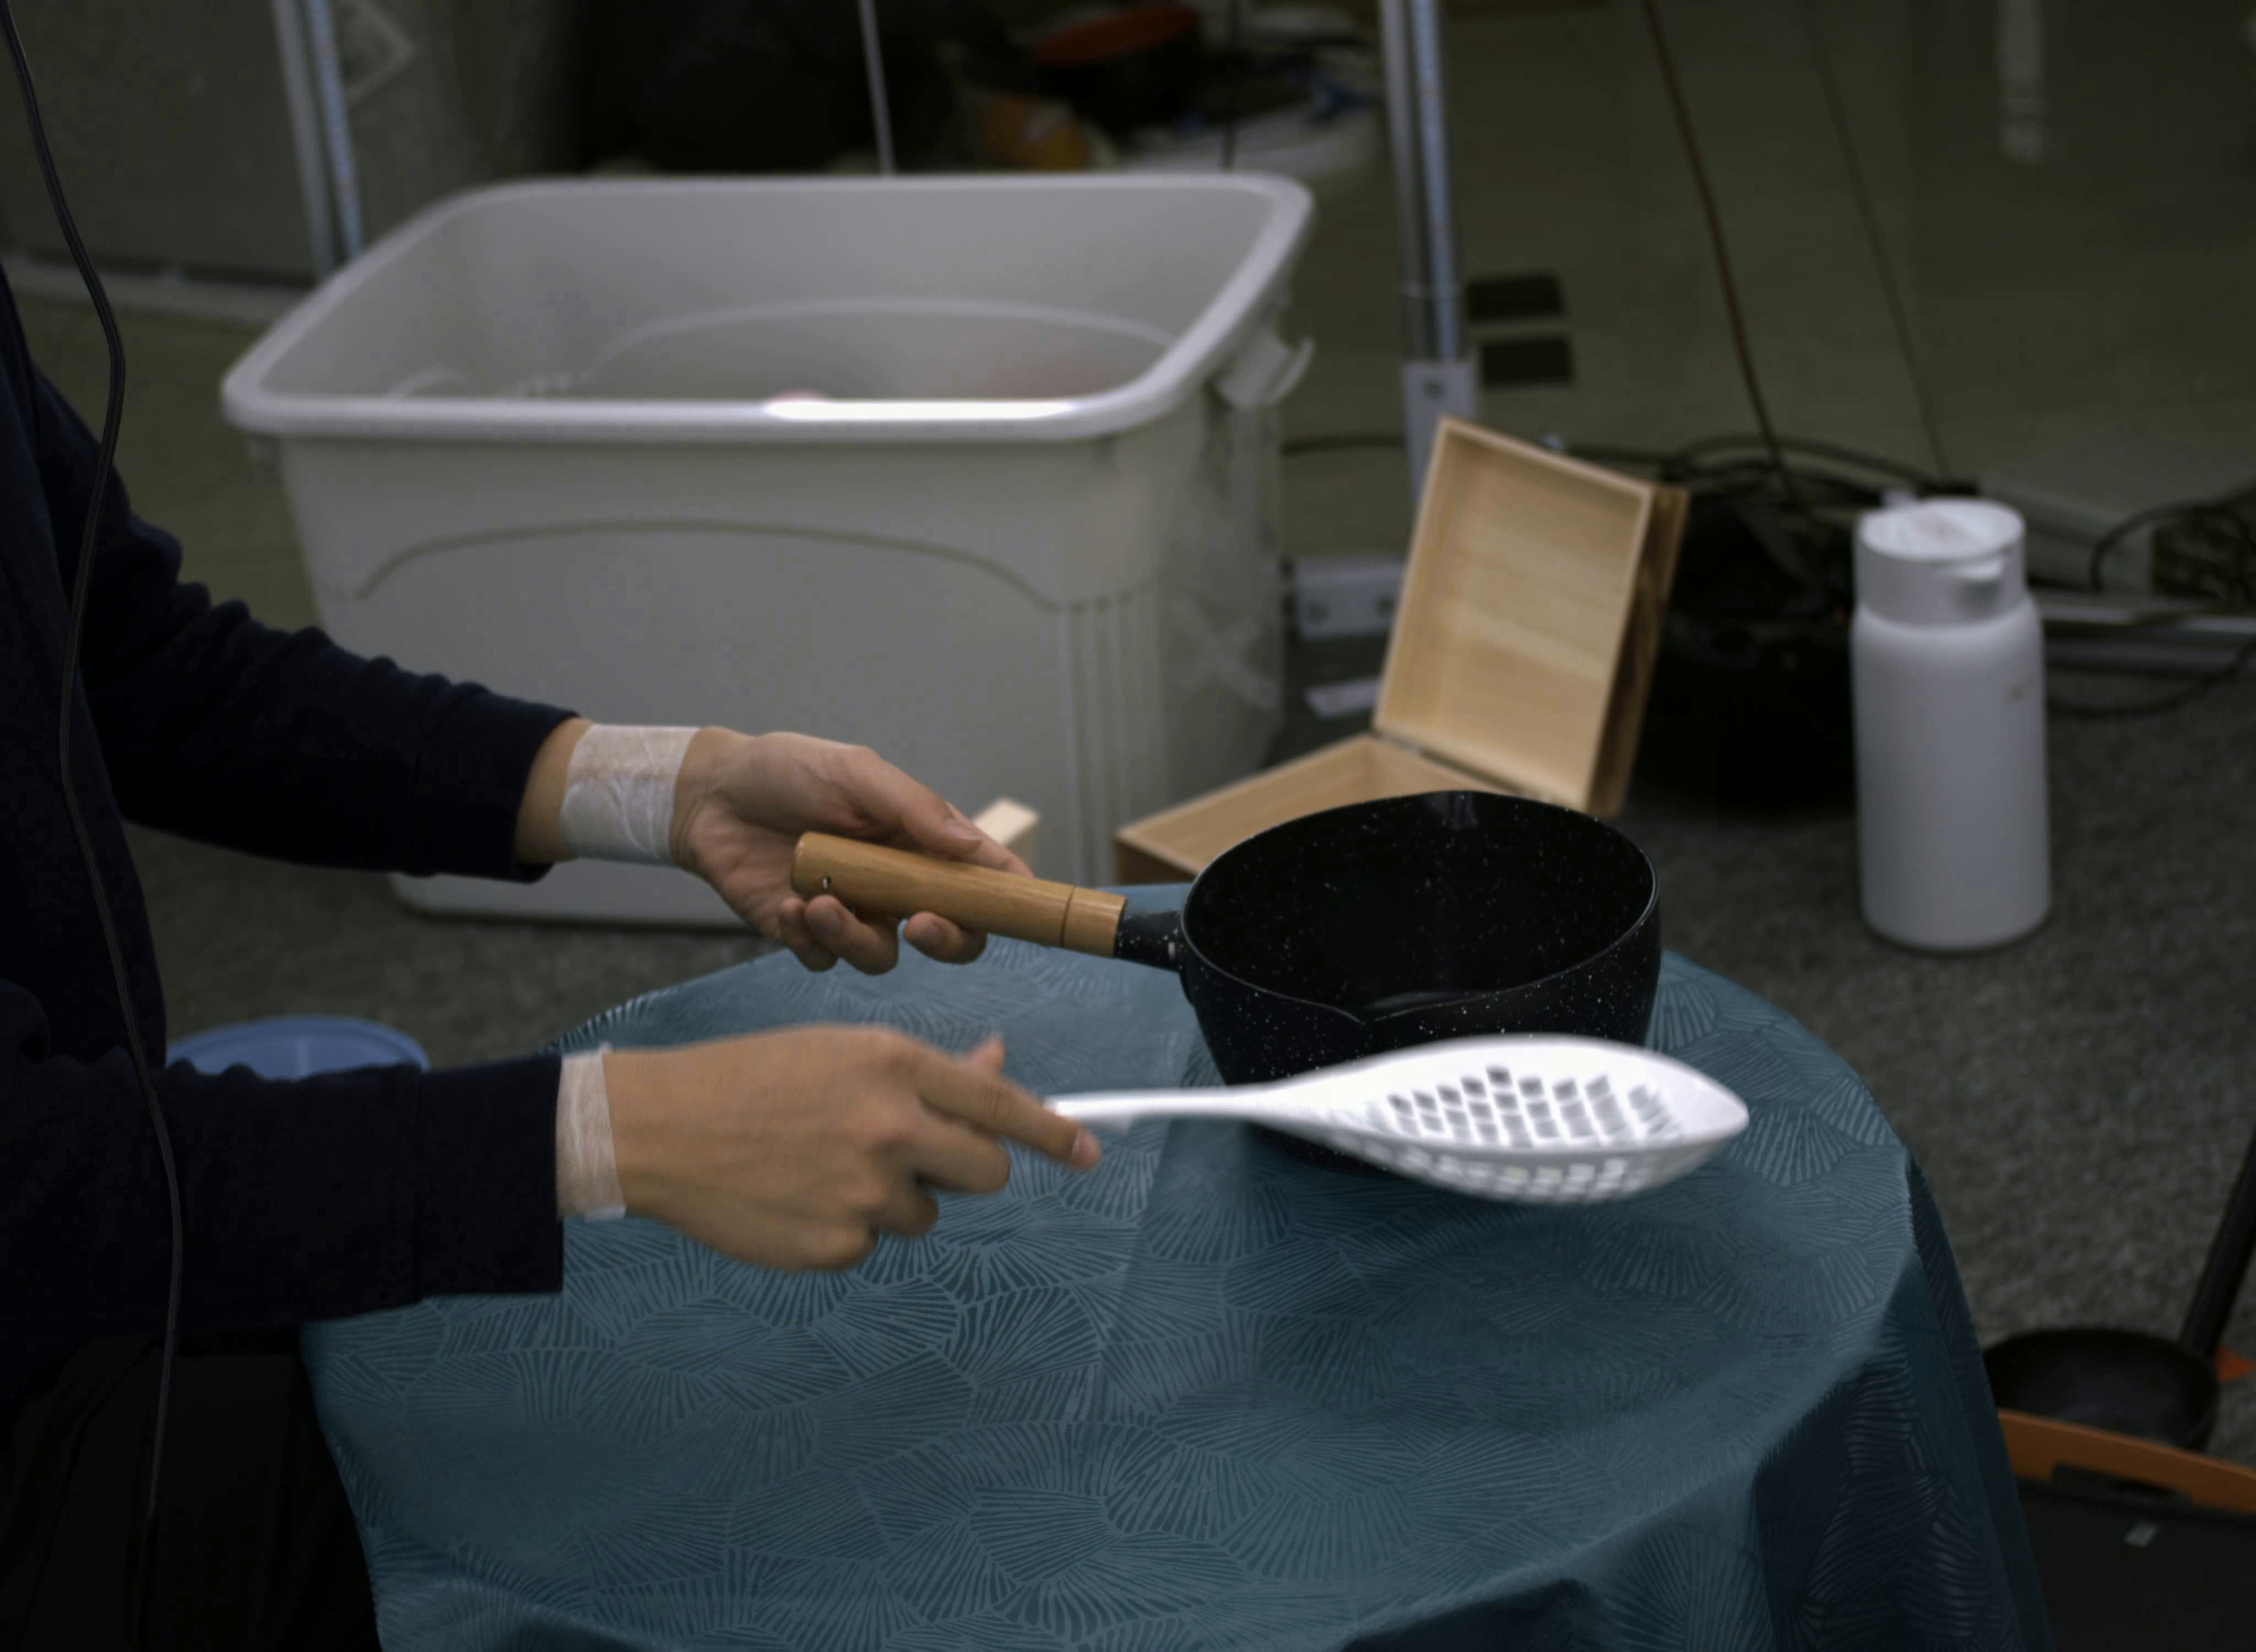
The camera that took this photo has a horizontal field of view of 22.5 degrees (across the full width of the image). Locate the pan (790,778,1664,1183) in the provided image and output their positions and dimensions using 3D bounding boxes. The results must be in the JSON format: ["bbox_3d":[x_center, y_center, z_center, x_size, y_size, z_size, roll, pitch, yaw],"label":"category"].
[{"bbox_3d":[0.037,0.054,2.191,0.342,0.110,0.204,1,27,12],"label":"pan"}]

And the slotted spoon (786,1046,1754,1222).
[{"bbox_3d":[0.049,0.113,1.984,0.348,0.051,0.135,3,13,-19],"label":"slotted spoon"}]
